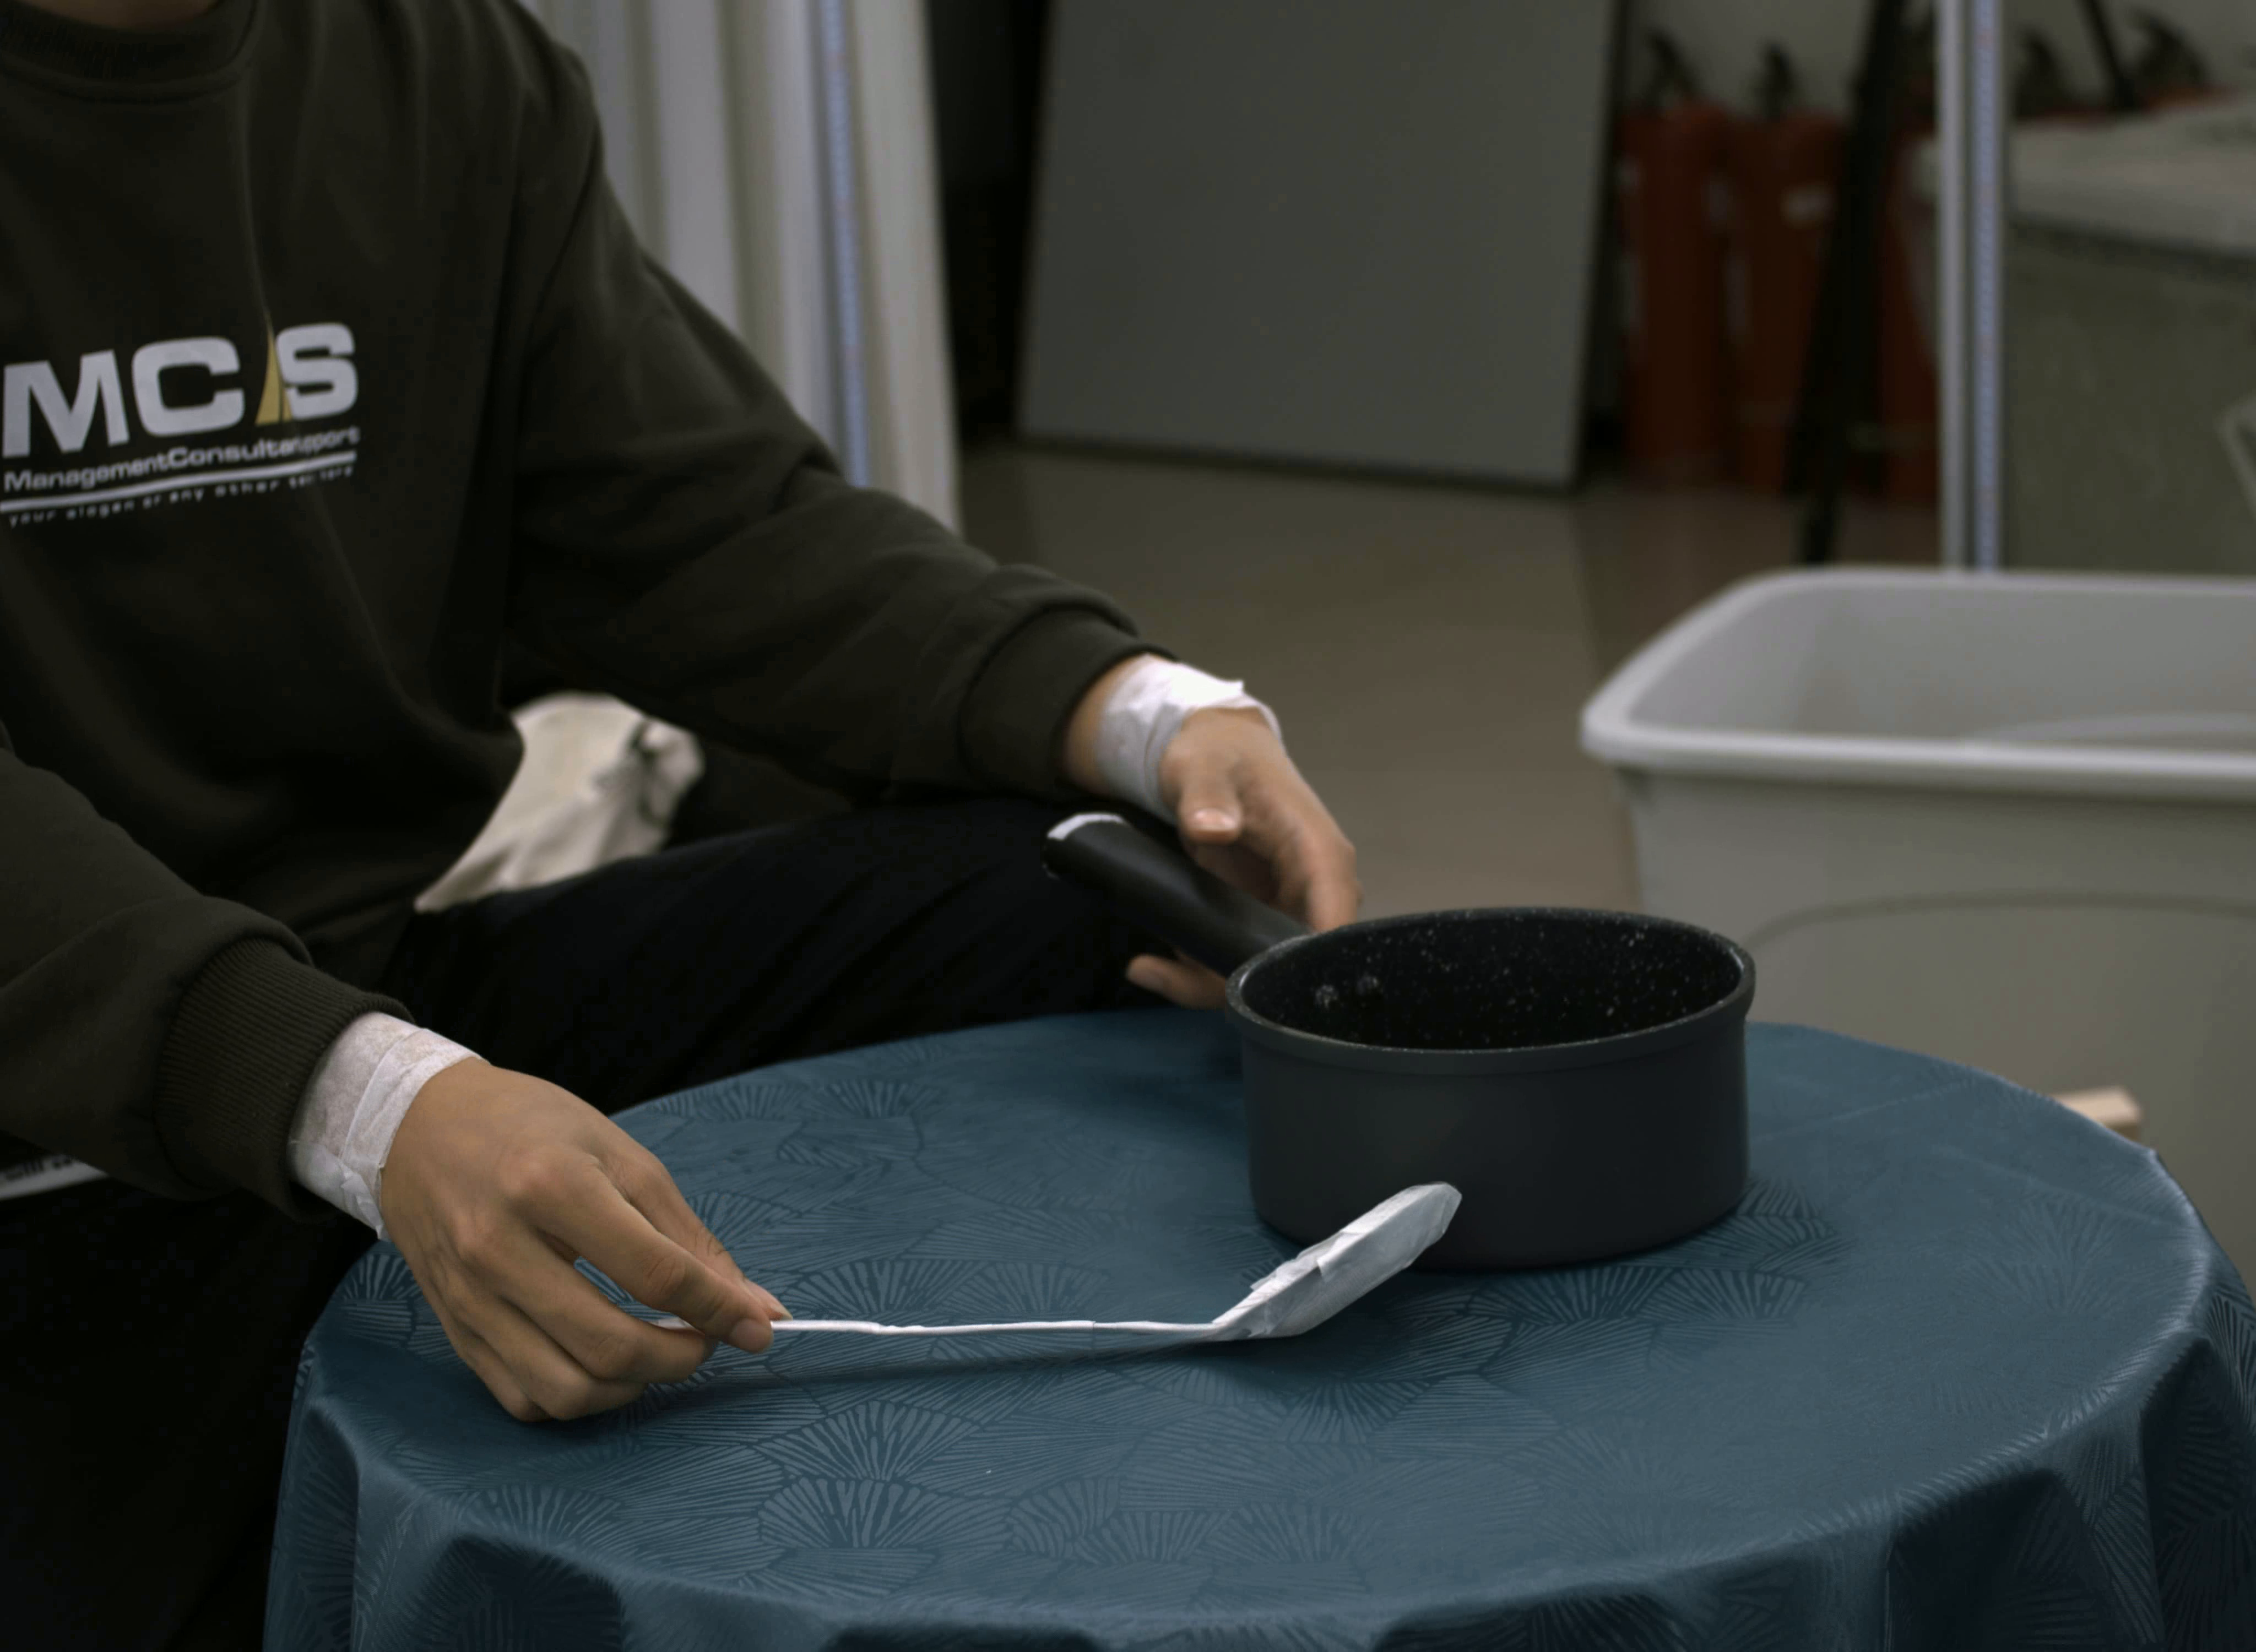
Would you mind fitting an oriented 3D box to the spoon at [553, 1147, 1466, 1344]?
[{"bbox_3d":[-0.035,0.126,1.625,0.274,0.060,0.100,0,-6,3],"label":"spoon"}]

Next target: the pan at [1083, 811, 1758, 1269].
[{"bbox_3d":[0.078,0.067,1.798,0.168,0.087,0.332,-10,15,-29],"label":"pan"}]
